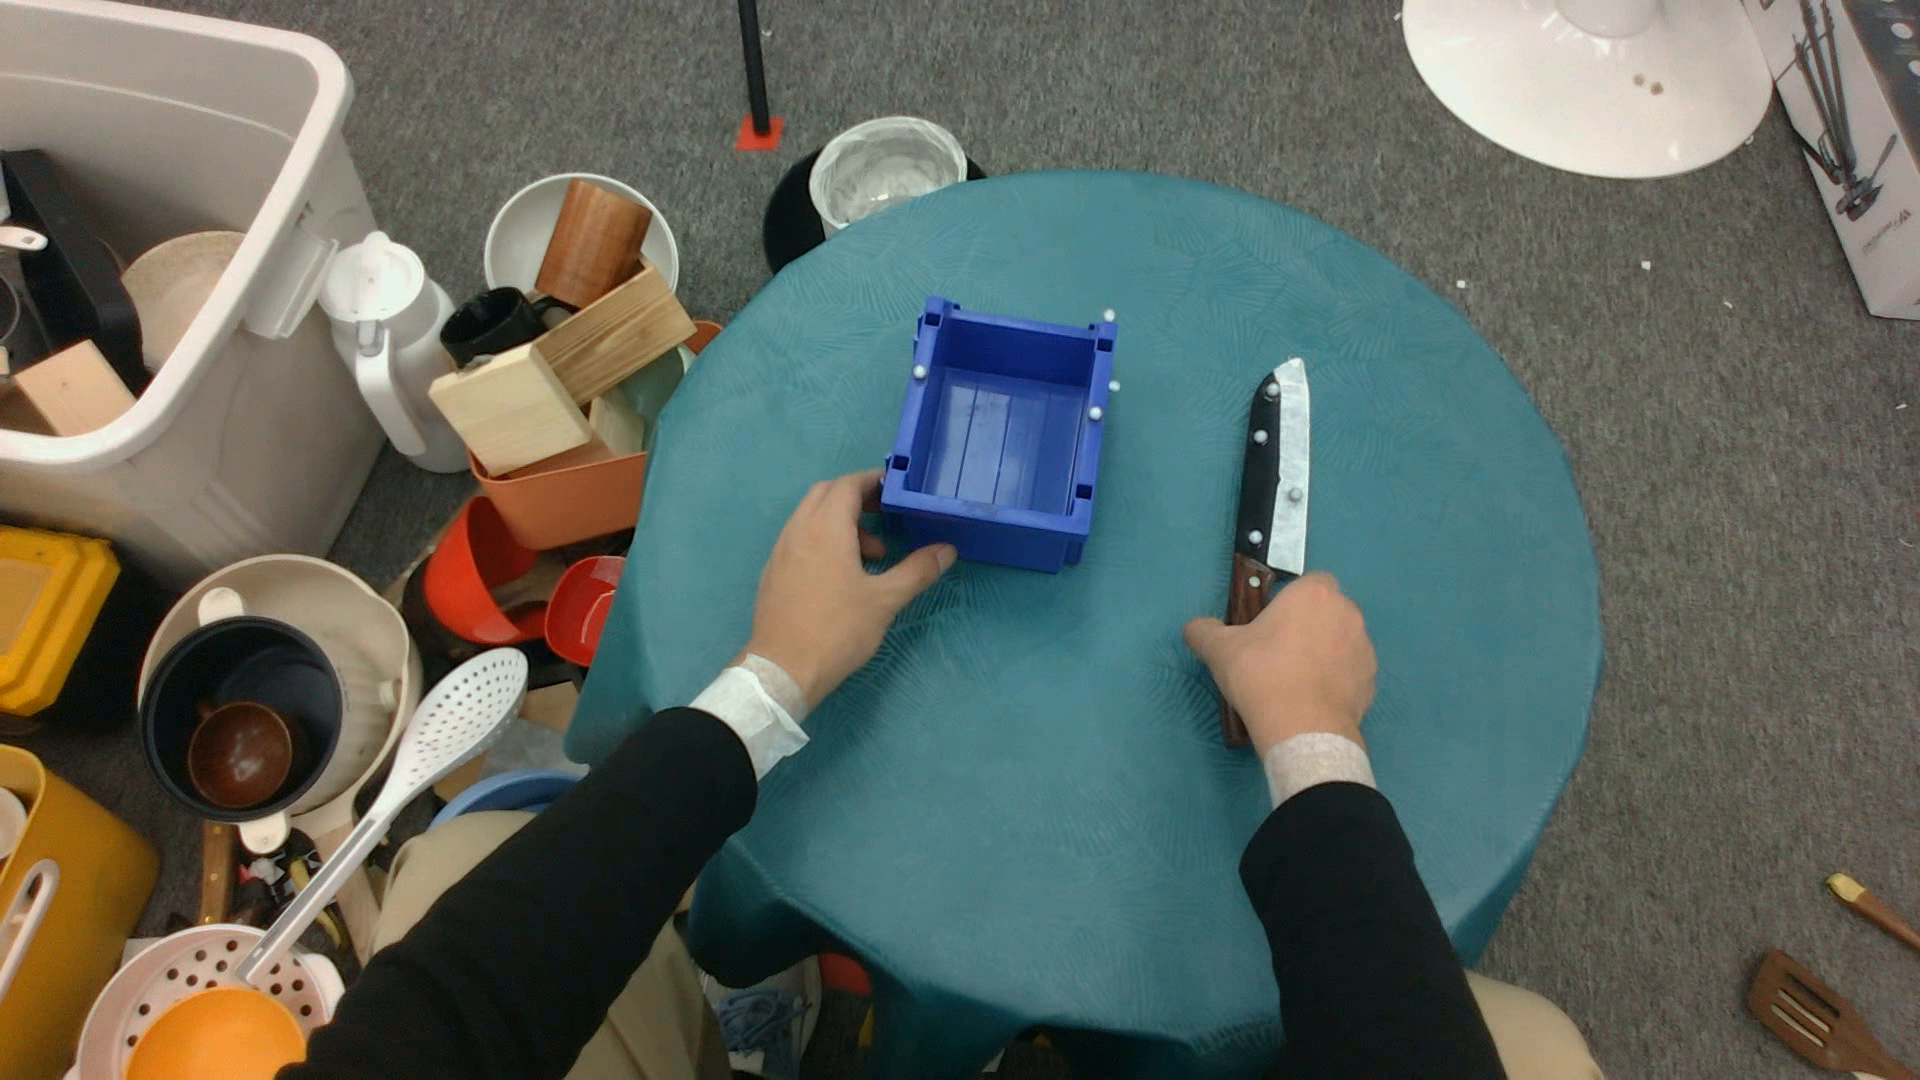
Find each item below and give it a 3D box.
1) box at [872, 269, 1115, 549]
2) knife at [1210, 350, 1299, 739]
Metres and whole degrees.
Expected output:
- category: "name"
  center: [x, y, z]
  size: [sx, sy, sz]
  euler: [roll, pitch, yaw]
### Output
- category: "box"
  center: [0.022, -0.088, 0.854]
  size: [0.124, 0.081, 0.180]
  euler: [10, 65, 4]
- category: "knife"
  center: [0.185, -0.008, 0.852]
  size: [0.050, 0.020, 0.290]
  euler: [16, 59, -3]
